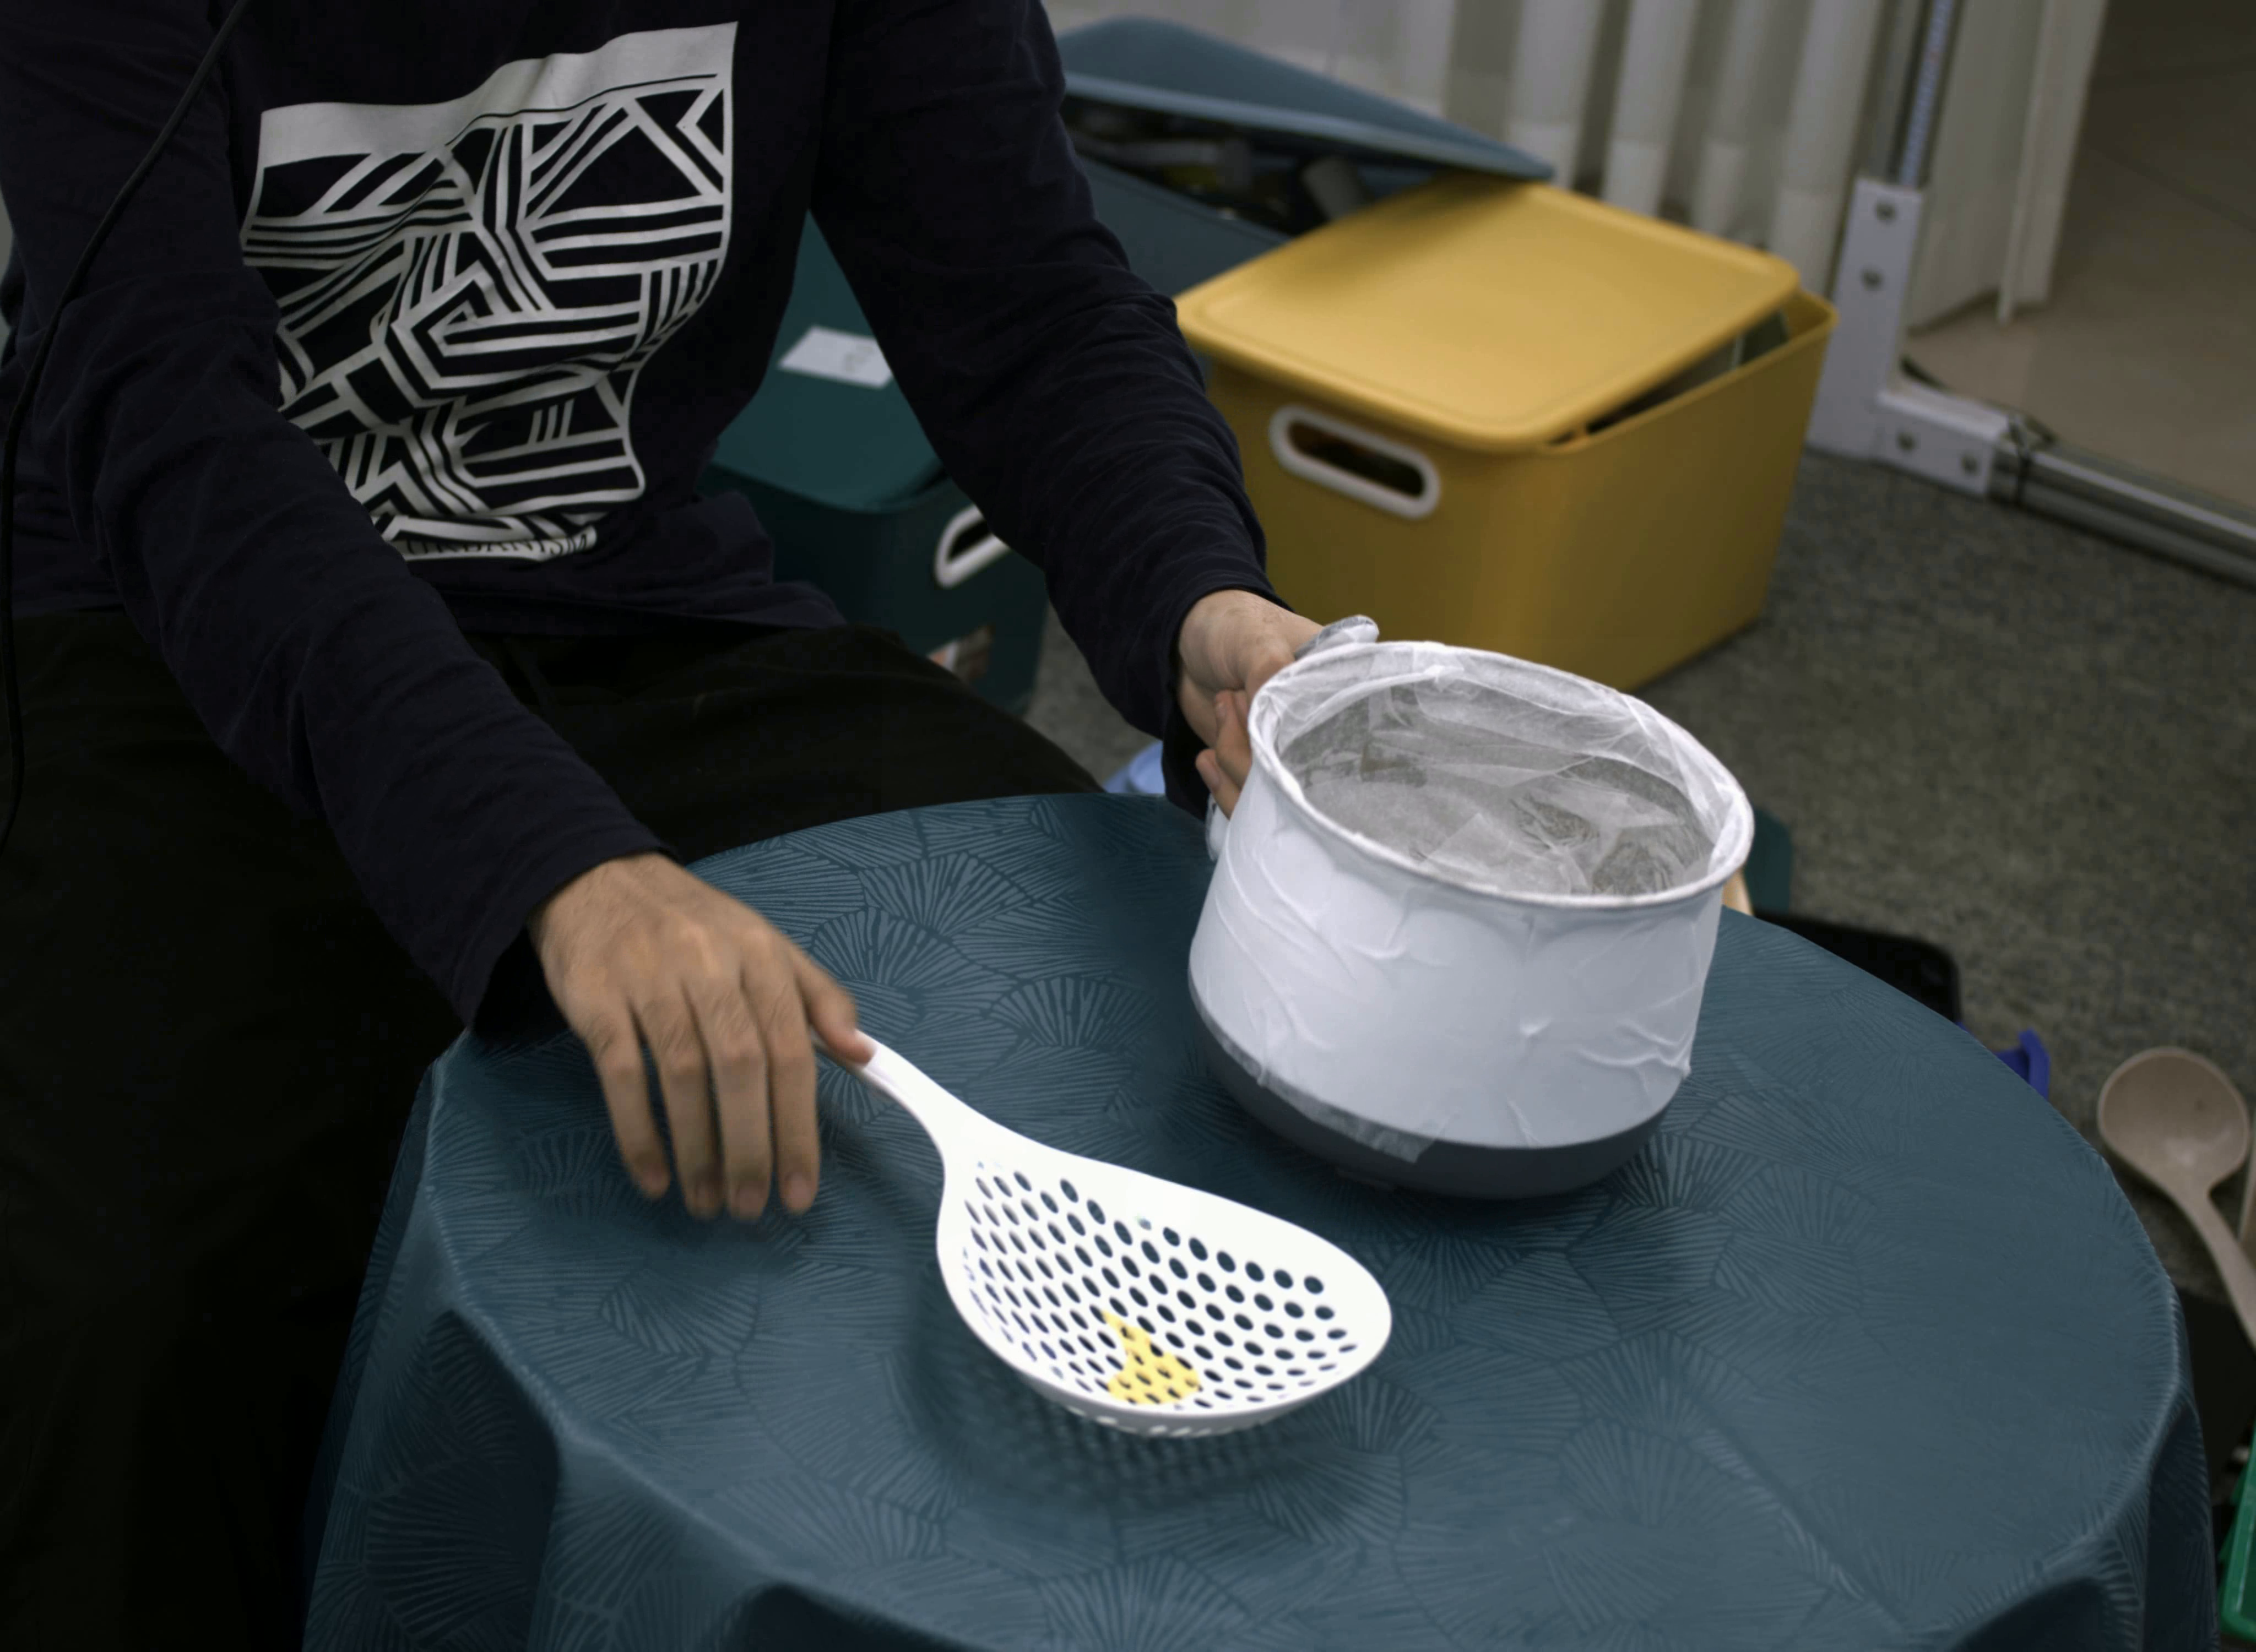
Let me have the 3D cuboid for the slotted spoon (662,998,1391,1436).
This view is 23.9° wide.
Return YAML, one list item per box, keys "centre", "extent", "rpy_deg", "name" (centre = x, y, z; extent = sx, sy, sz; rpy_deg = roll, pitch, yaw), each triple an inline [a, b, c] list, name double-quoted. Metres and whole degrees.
- centre: [-0.052, 0.116, 1.760]
  extent: [0.136, 0.050, 0.351]
  rpy_deg: [-14, 34, -33]
  name: "slotted spoon"

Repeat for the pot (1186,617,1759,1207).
- centre: [0.101, 0.022, 1.857]
  extent: [0.177, 0.136, 0.236]
  rpy_deg: [-4, 33, -31]
  name: "pot"
